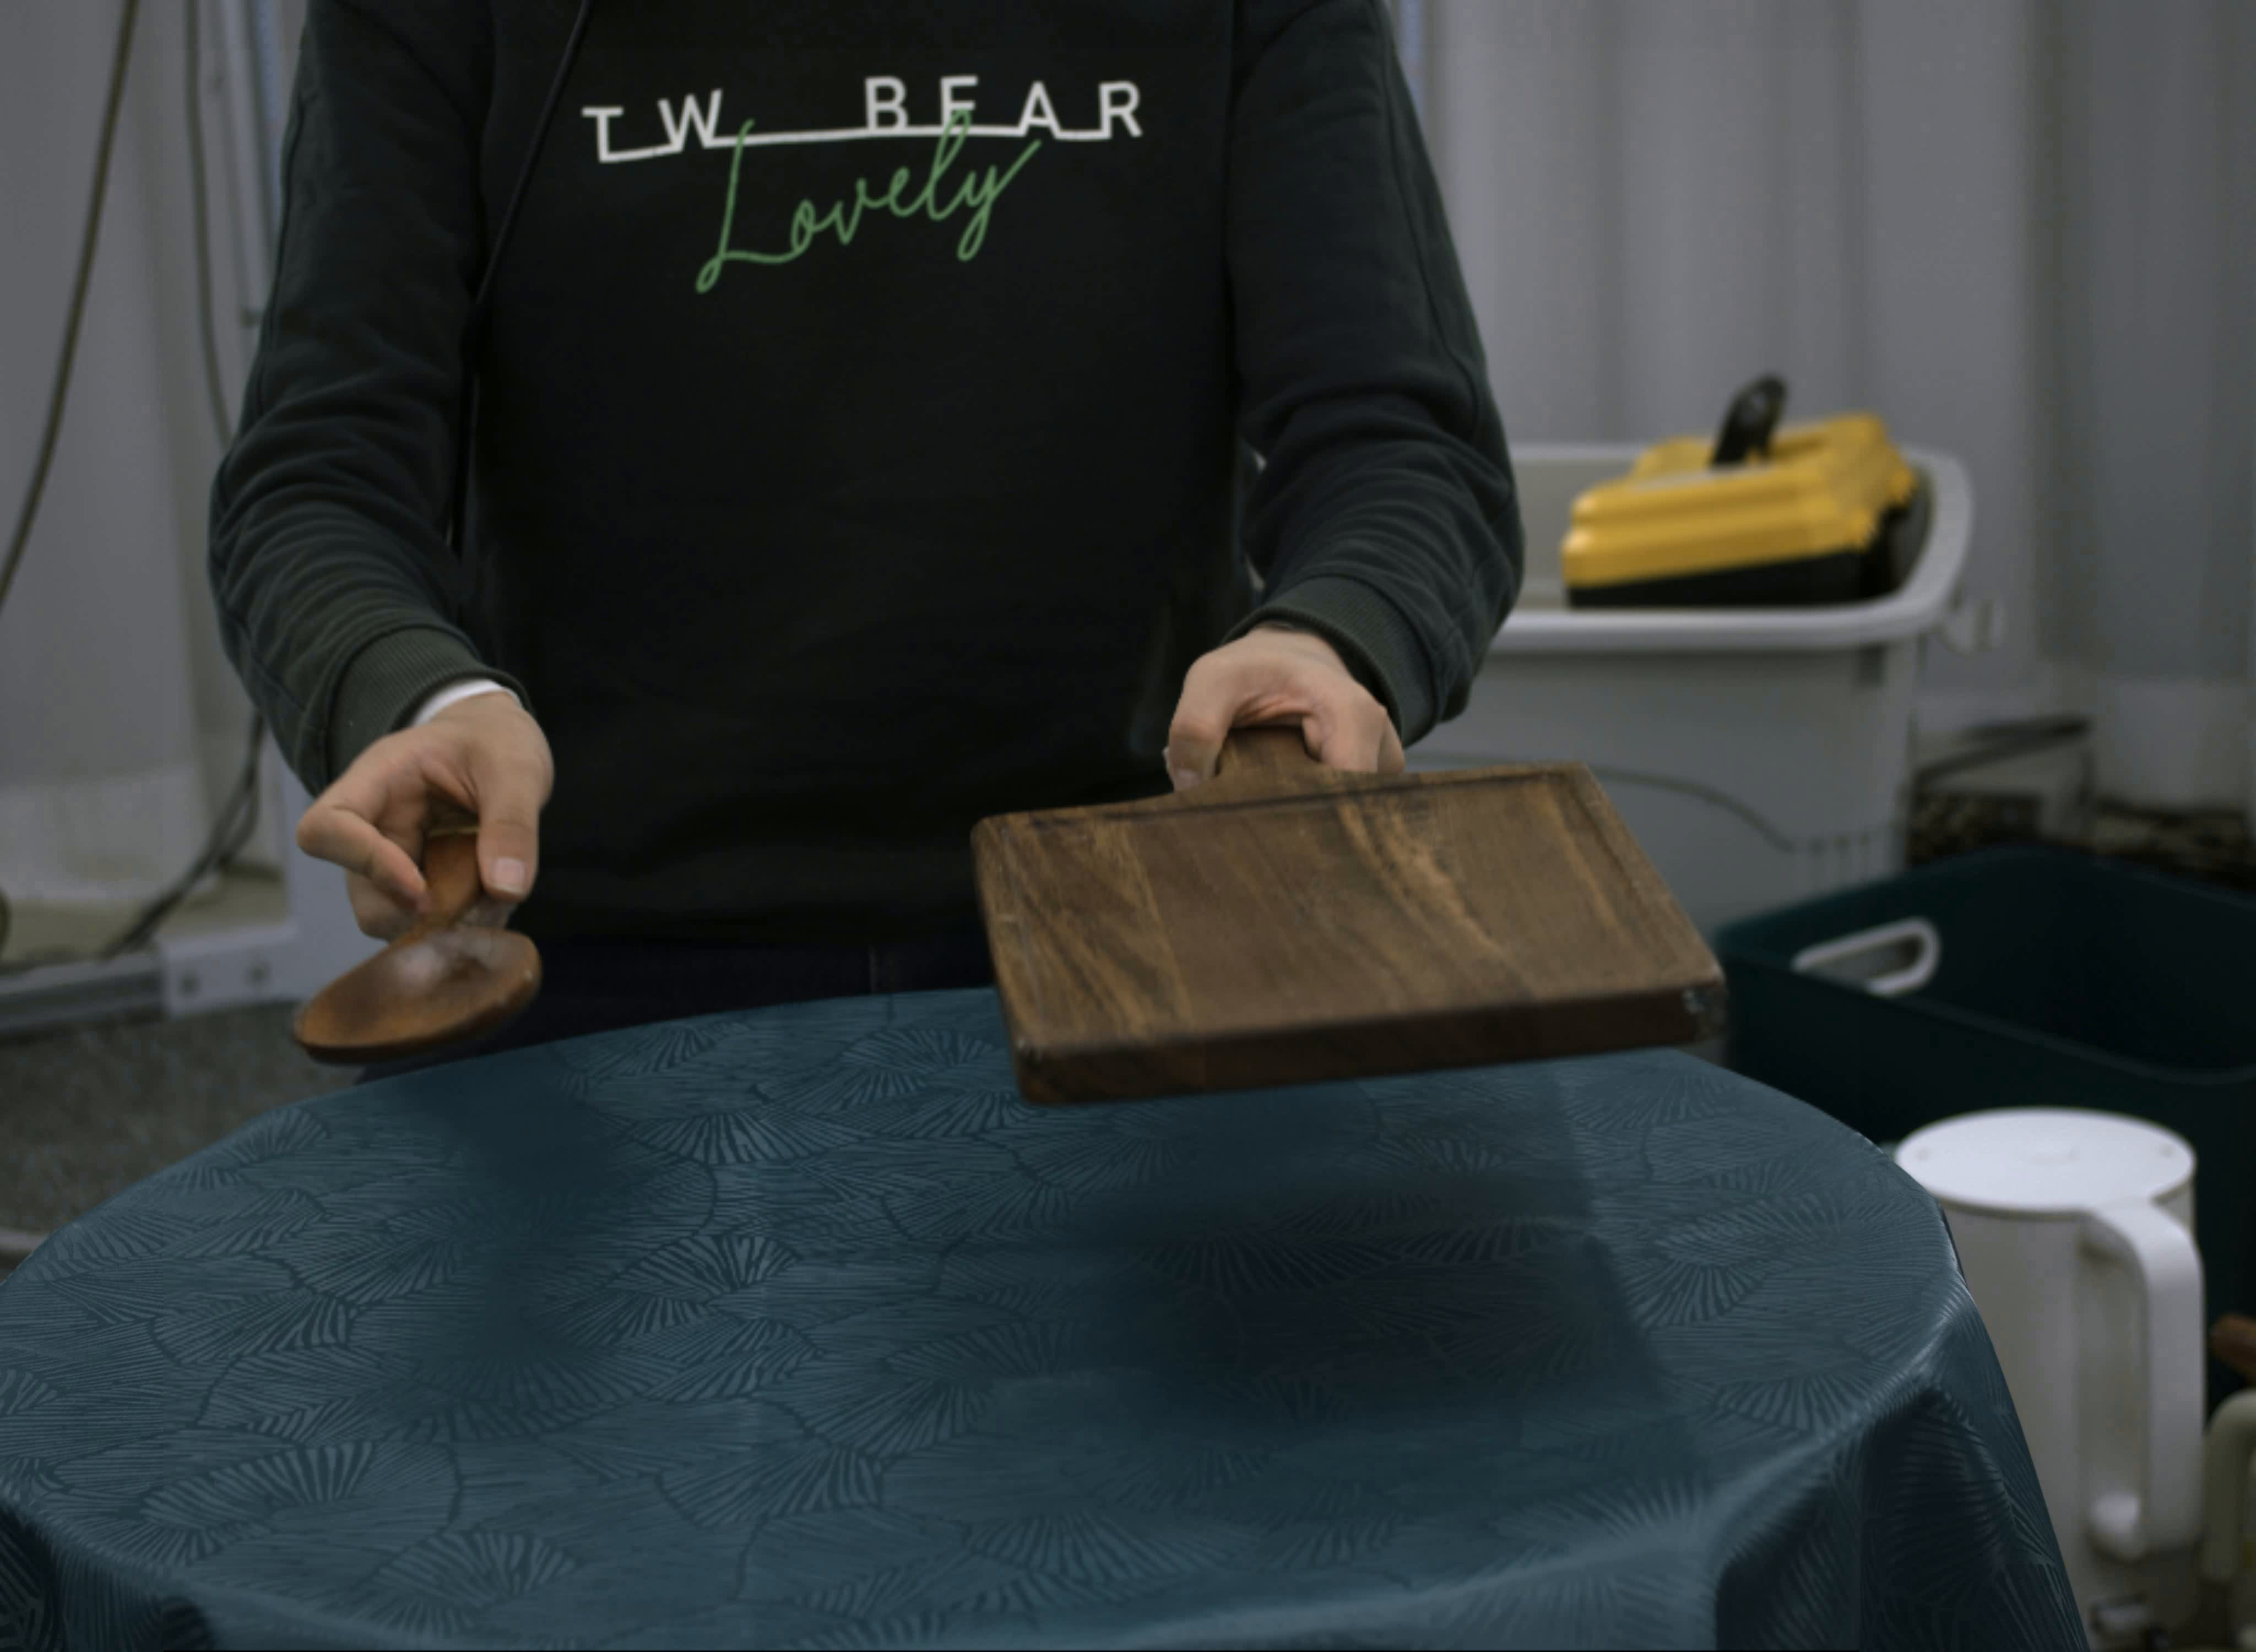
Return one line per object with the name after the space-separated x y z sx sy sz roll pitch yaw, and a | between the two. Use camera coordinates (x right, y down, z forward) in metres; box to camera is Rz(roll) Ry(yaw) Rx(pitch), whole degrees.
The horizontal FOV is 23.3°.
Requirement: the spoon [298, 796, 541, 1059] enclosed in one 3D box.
-0.209 0.030 1.663 0.075 0.017 0.218 -17 18 3 | spoon

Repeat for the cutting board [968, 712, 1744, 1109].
0.055 0.015 1.644 0.200 0.023 0.354 -6 14 -3 | cutting board
